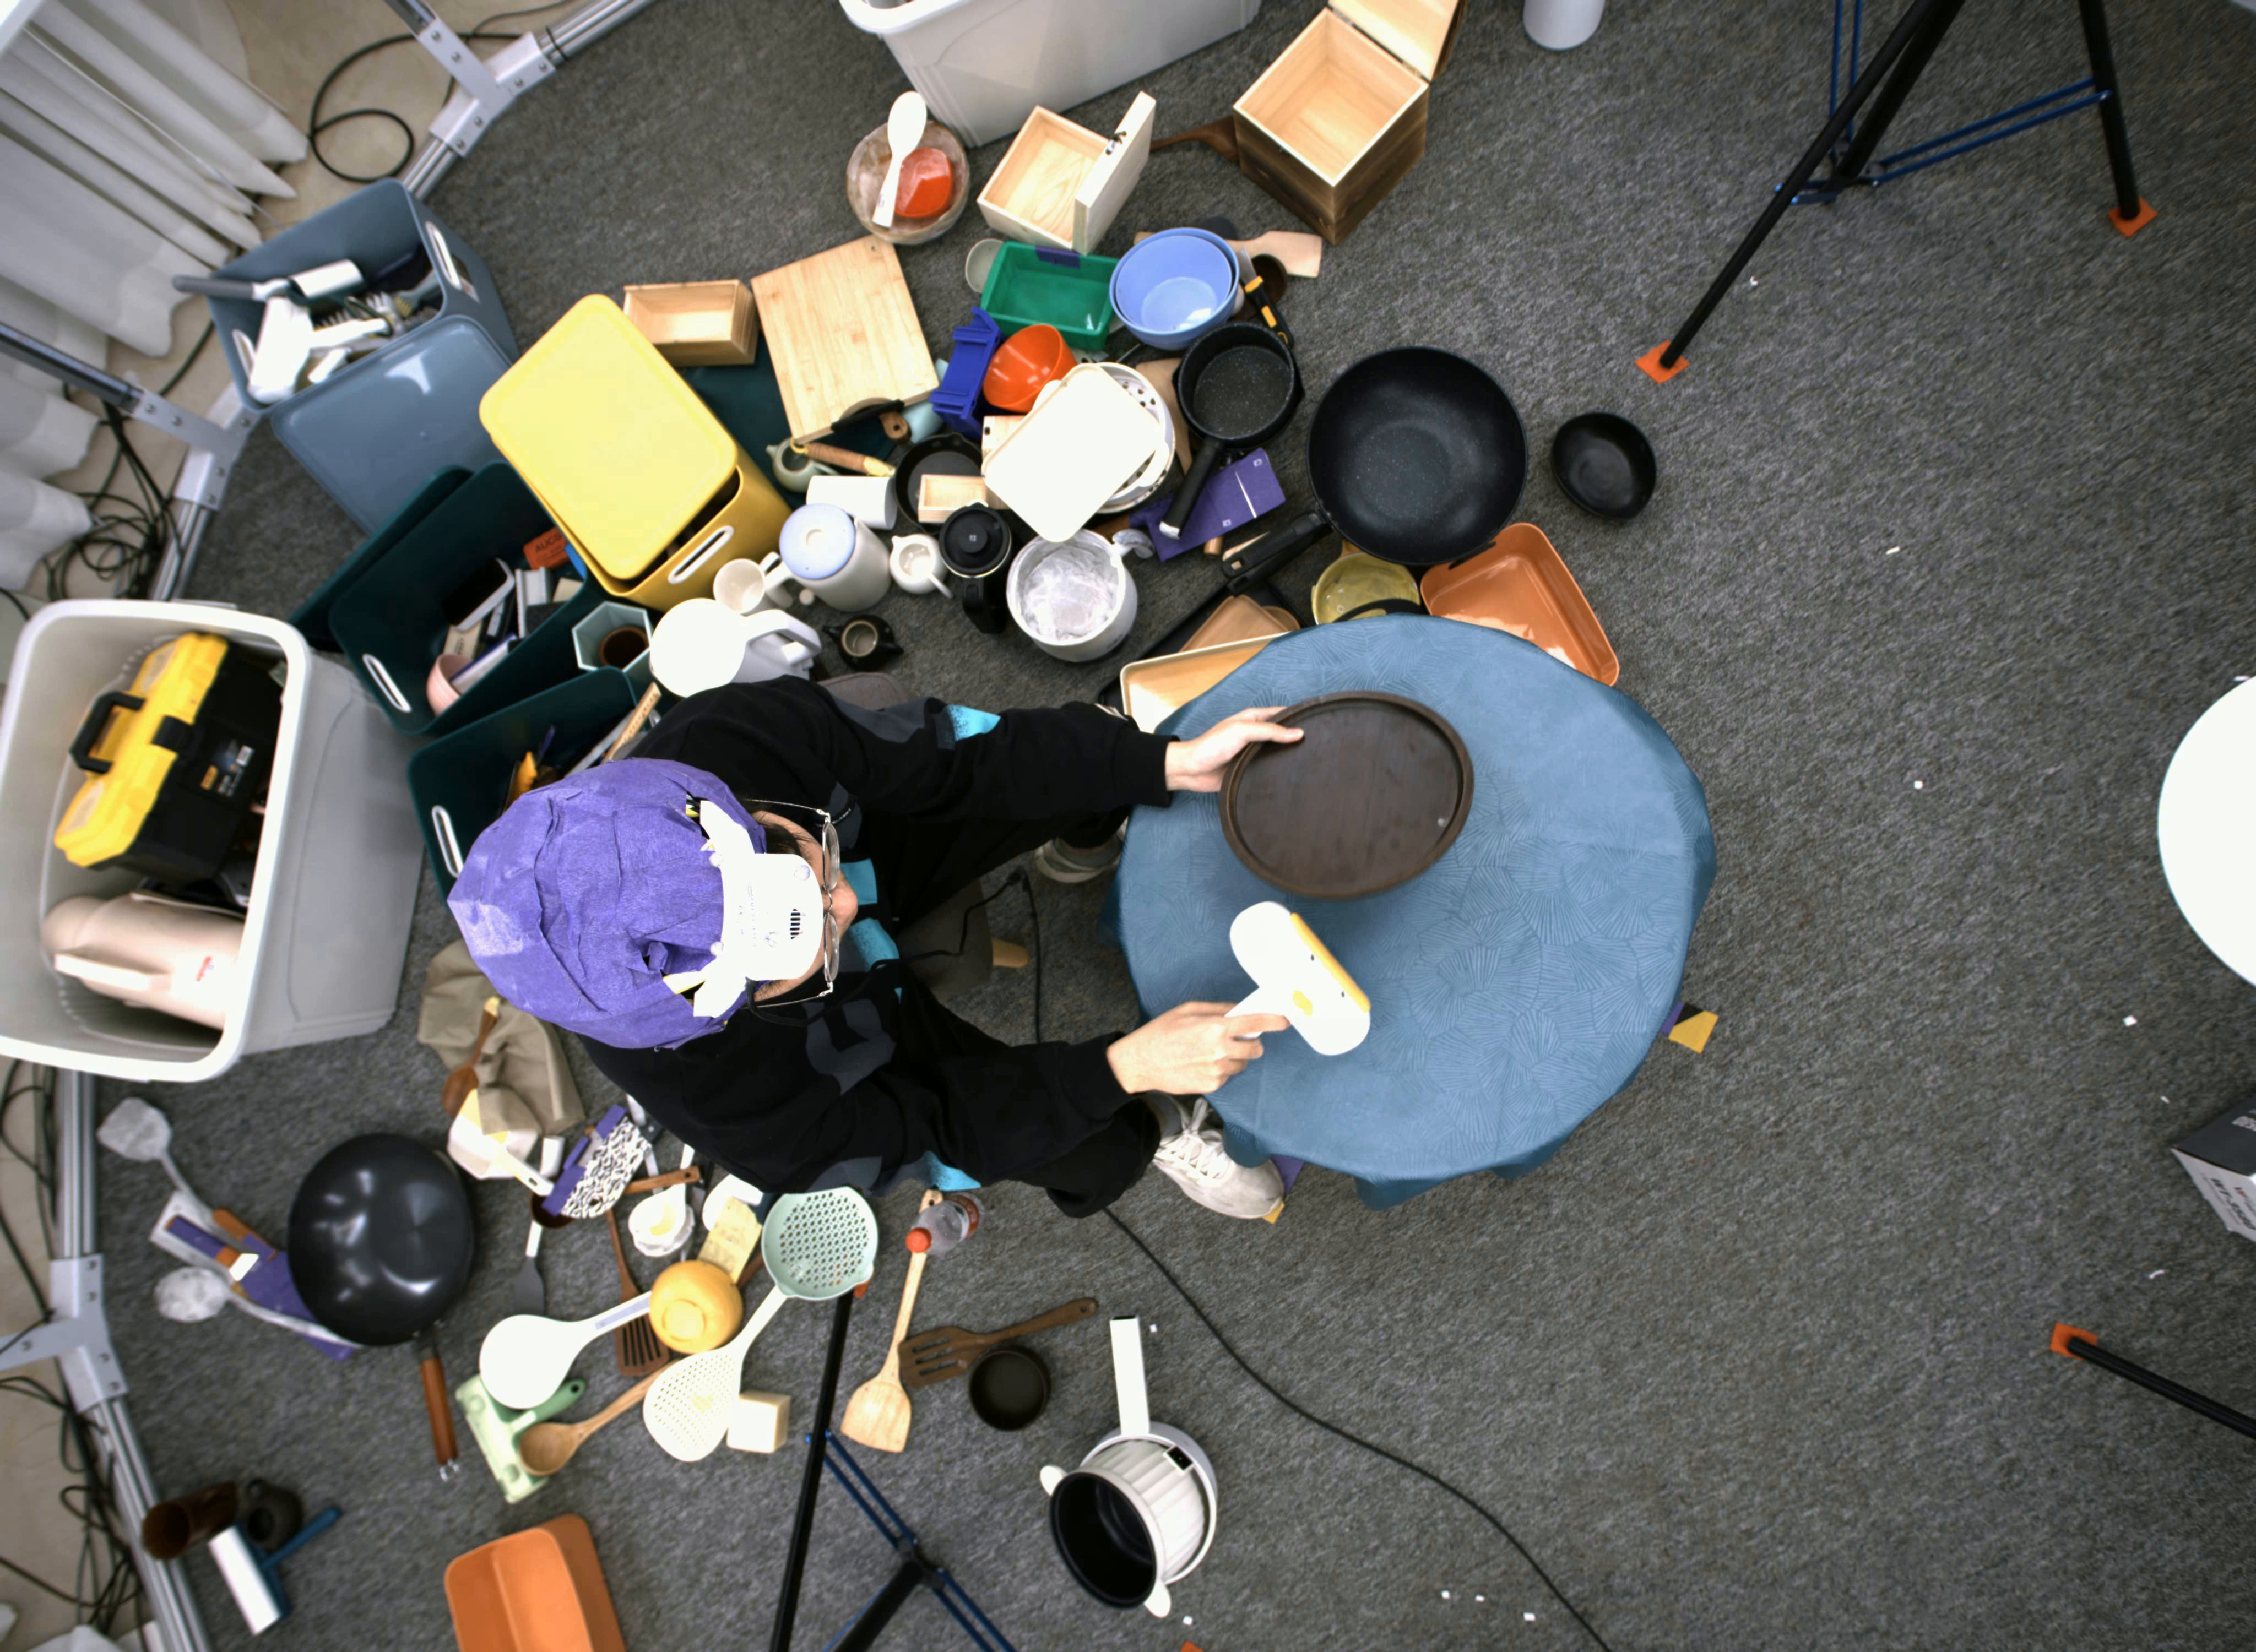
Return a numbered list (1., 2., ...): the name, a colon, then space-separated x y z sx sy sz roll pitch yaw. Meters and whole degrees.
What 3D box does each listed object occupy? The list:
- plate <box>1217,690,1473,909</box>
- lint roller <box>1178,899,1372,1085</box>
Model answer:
1. plate: 0.212 -0.029 1.361 0.256 0.029 0.248 -10 56 15
2. lint roller: 0.125 0.182 1.369 0.195 0.072 0.195 -37 125 19
